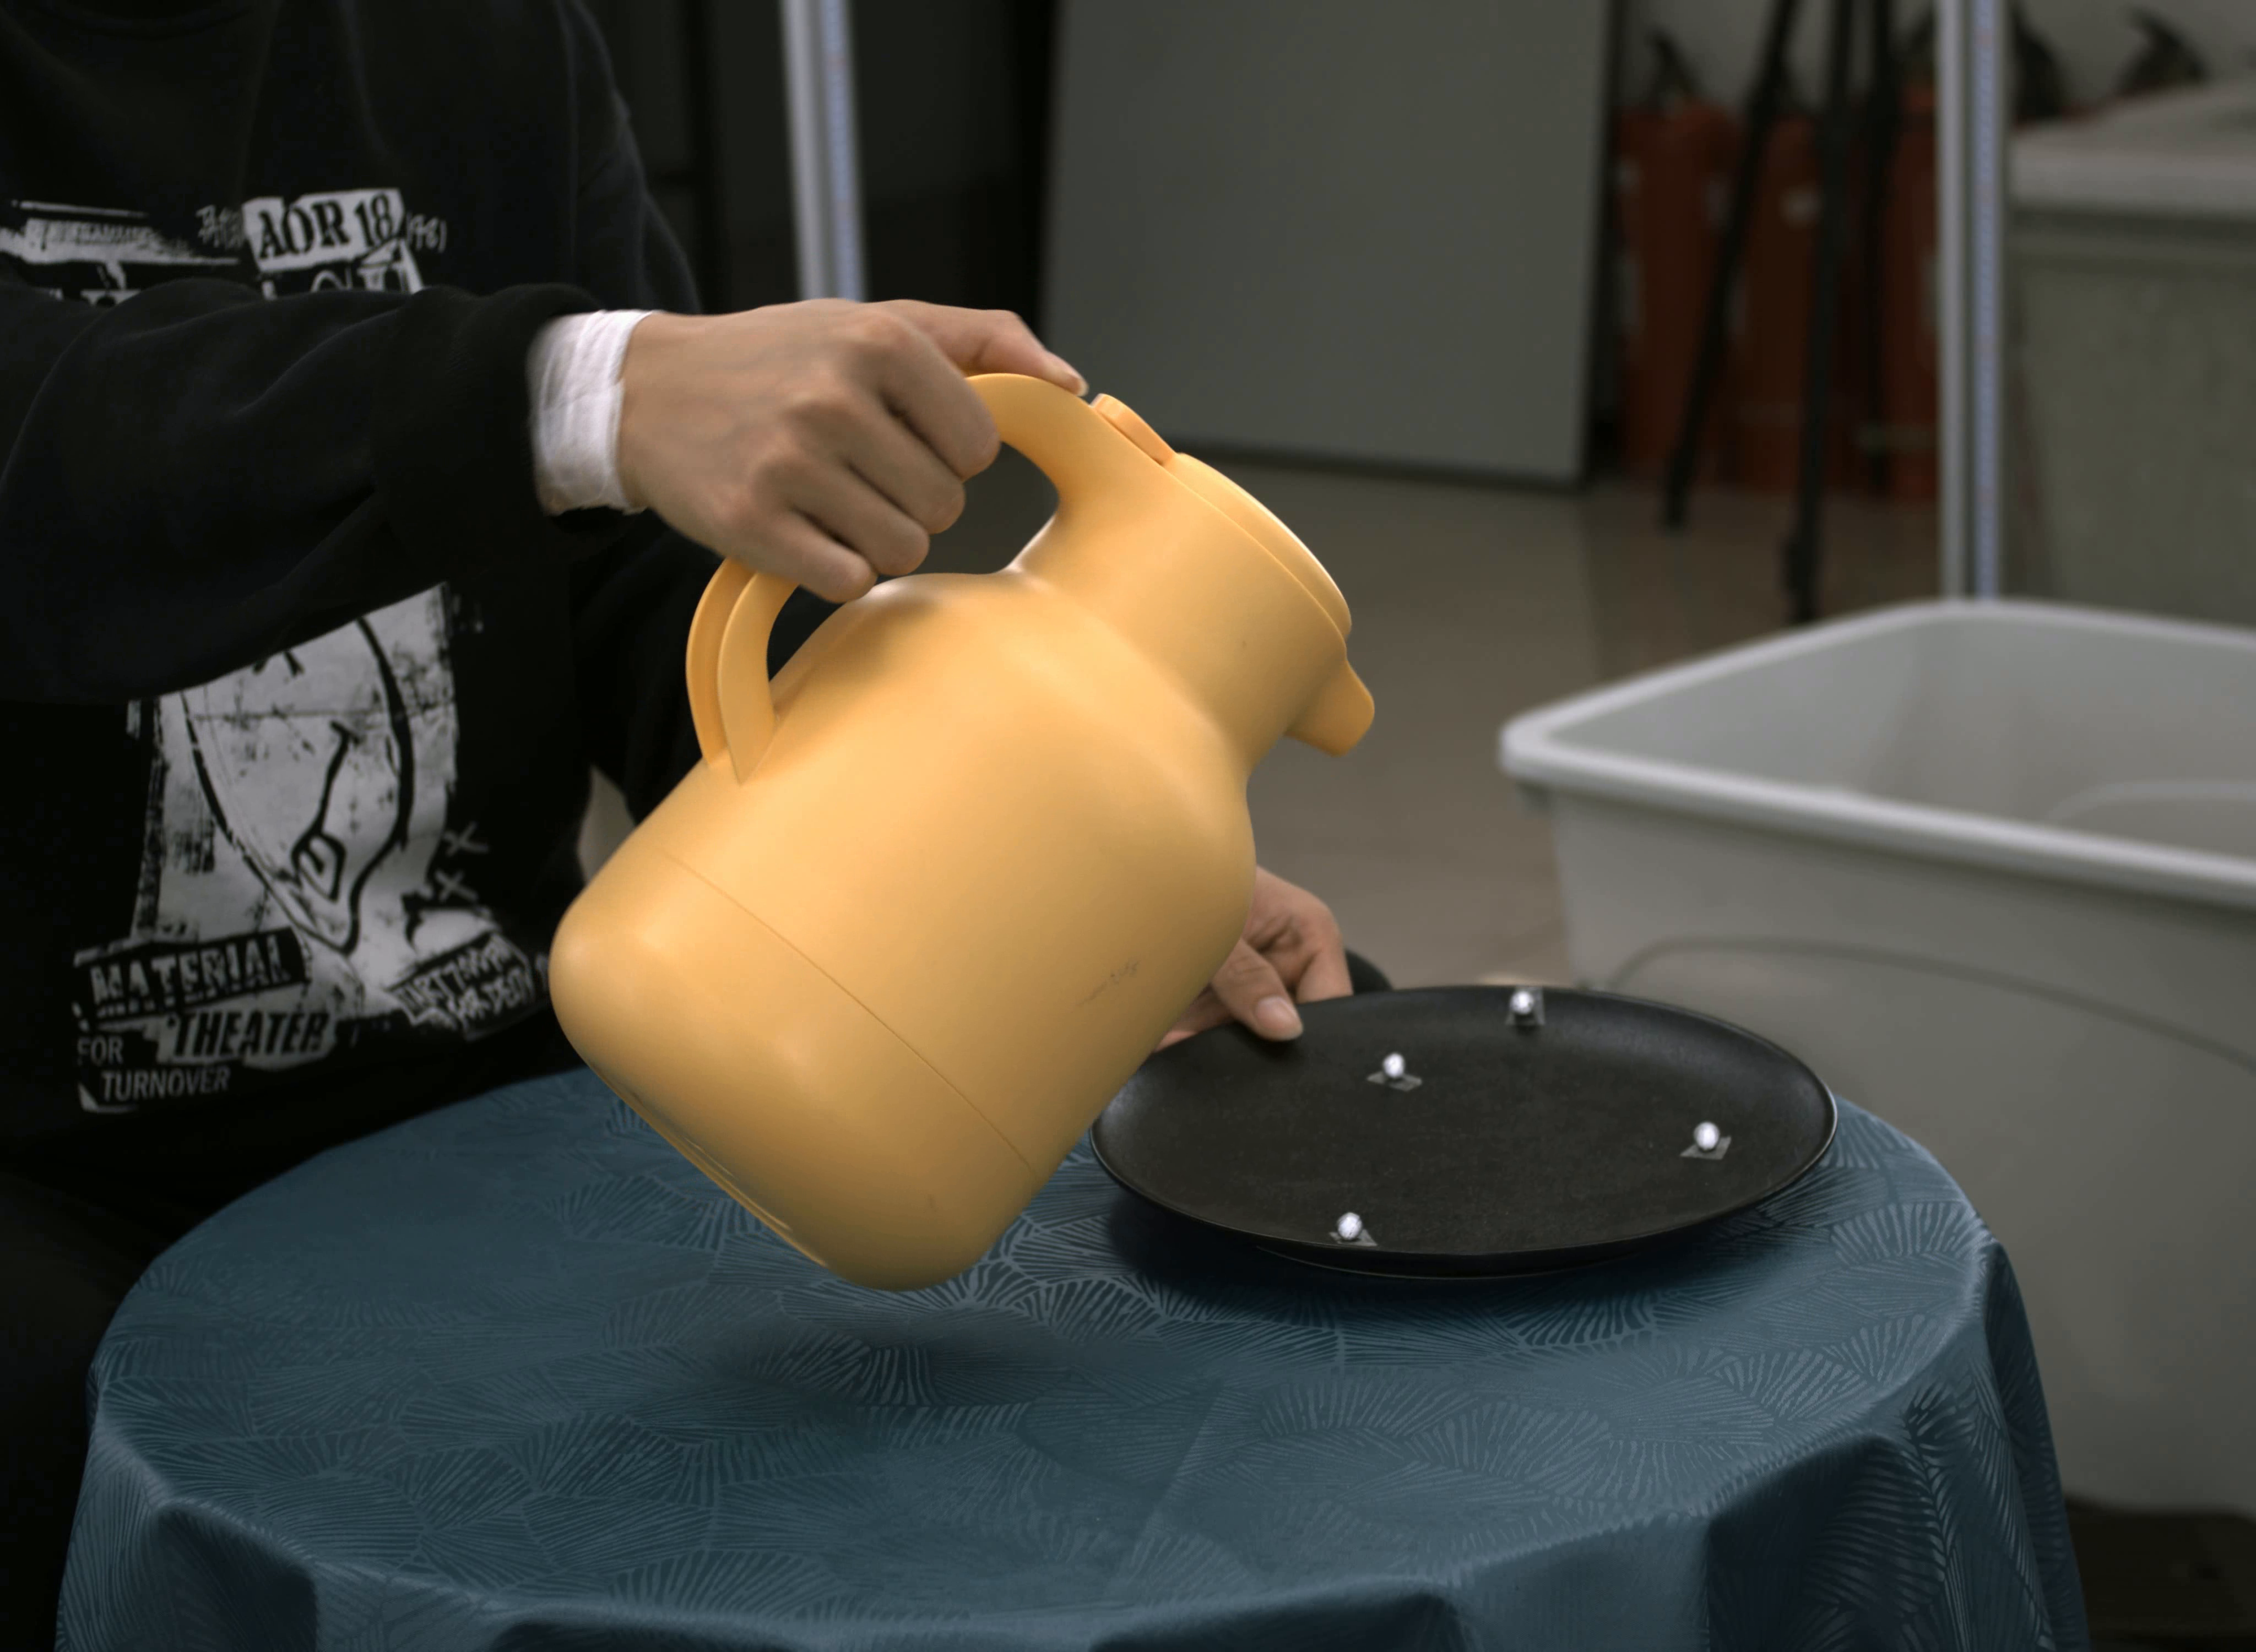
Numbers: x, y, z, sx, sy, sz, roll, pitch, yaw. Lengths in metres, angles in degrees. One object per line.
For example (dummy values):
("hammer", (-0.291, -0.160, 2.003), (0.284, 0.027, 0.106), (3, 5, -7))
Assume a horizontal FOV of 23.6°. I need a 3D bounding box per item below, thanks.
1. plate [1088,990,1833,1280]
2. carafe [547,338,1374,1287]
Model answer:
("plate", (0.108, 0.102, 1.745), (0.241, 0.023, 0.245), (-3, 17, 0))
("carafe", (-0.056, -0.013, 1.614), (0.260, 0.201, 0.165), (-49, 24, -12))
